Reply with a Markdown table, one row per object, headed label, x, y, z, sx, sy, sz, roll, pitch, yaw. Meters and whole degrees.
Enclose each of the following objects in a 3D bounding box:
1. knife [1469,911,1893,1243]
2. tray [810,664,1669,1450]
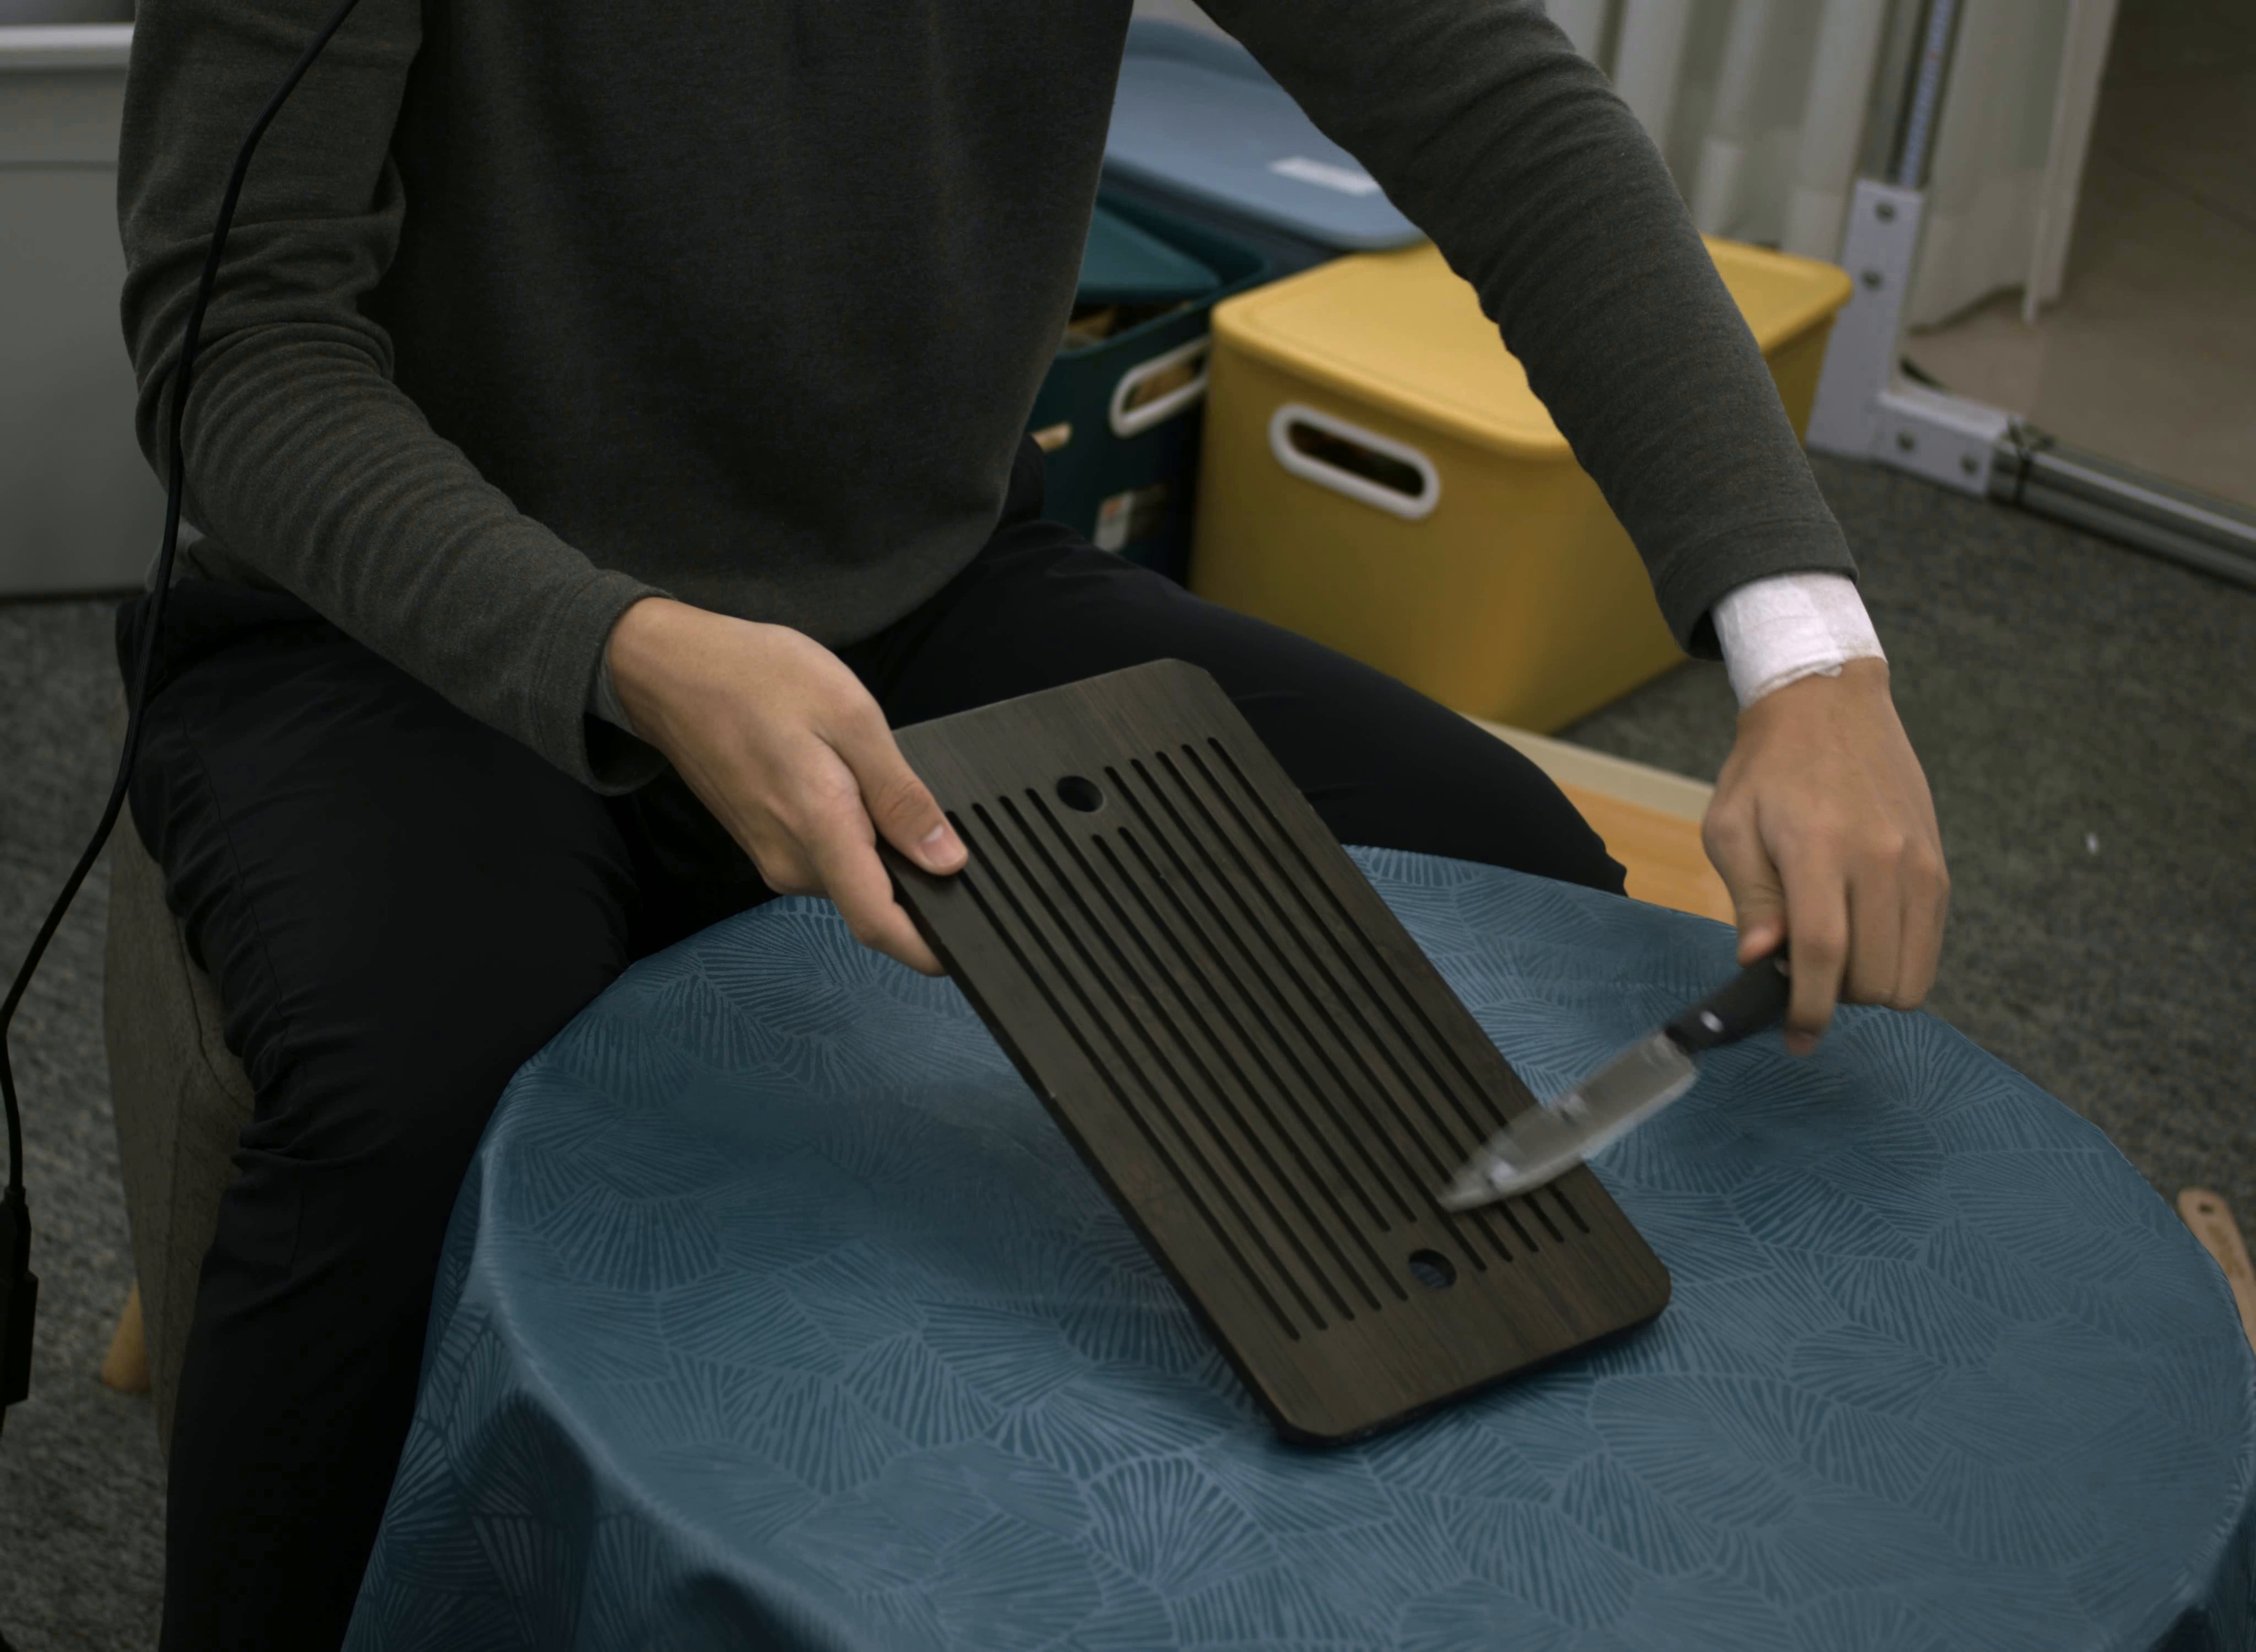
| label | x | y | z | sx | sy | sz | roll | pitch | yaw |
| --- | --- | --- | --- | --- | --- | --- | --- | --- | --- |
| knife | 0.188 | 0.084 | 1.816 | 0.237 | 0.016 | 0.024 | -32 | 85 | -39 |
| tray | 0.034 | 0.072 | 1.780 | 0.169 | 0.018 | 0.308 | -16 | 56 | -36 |
